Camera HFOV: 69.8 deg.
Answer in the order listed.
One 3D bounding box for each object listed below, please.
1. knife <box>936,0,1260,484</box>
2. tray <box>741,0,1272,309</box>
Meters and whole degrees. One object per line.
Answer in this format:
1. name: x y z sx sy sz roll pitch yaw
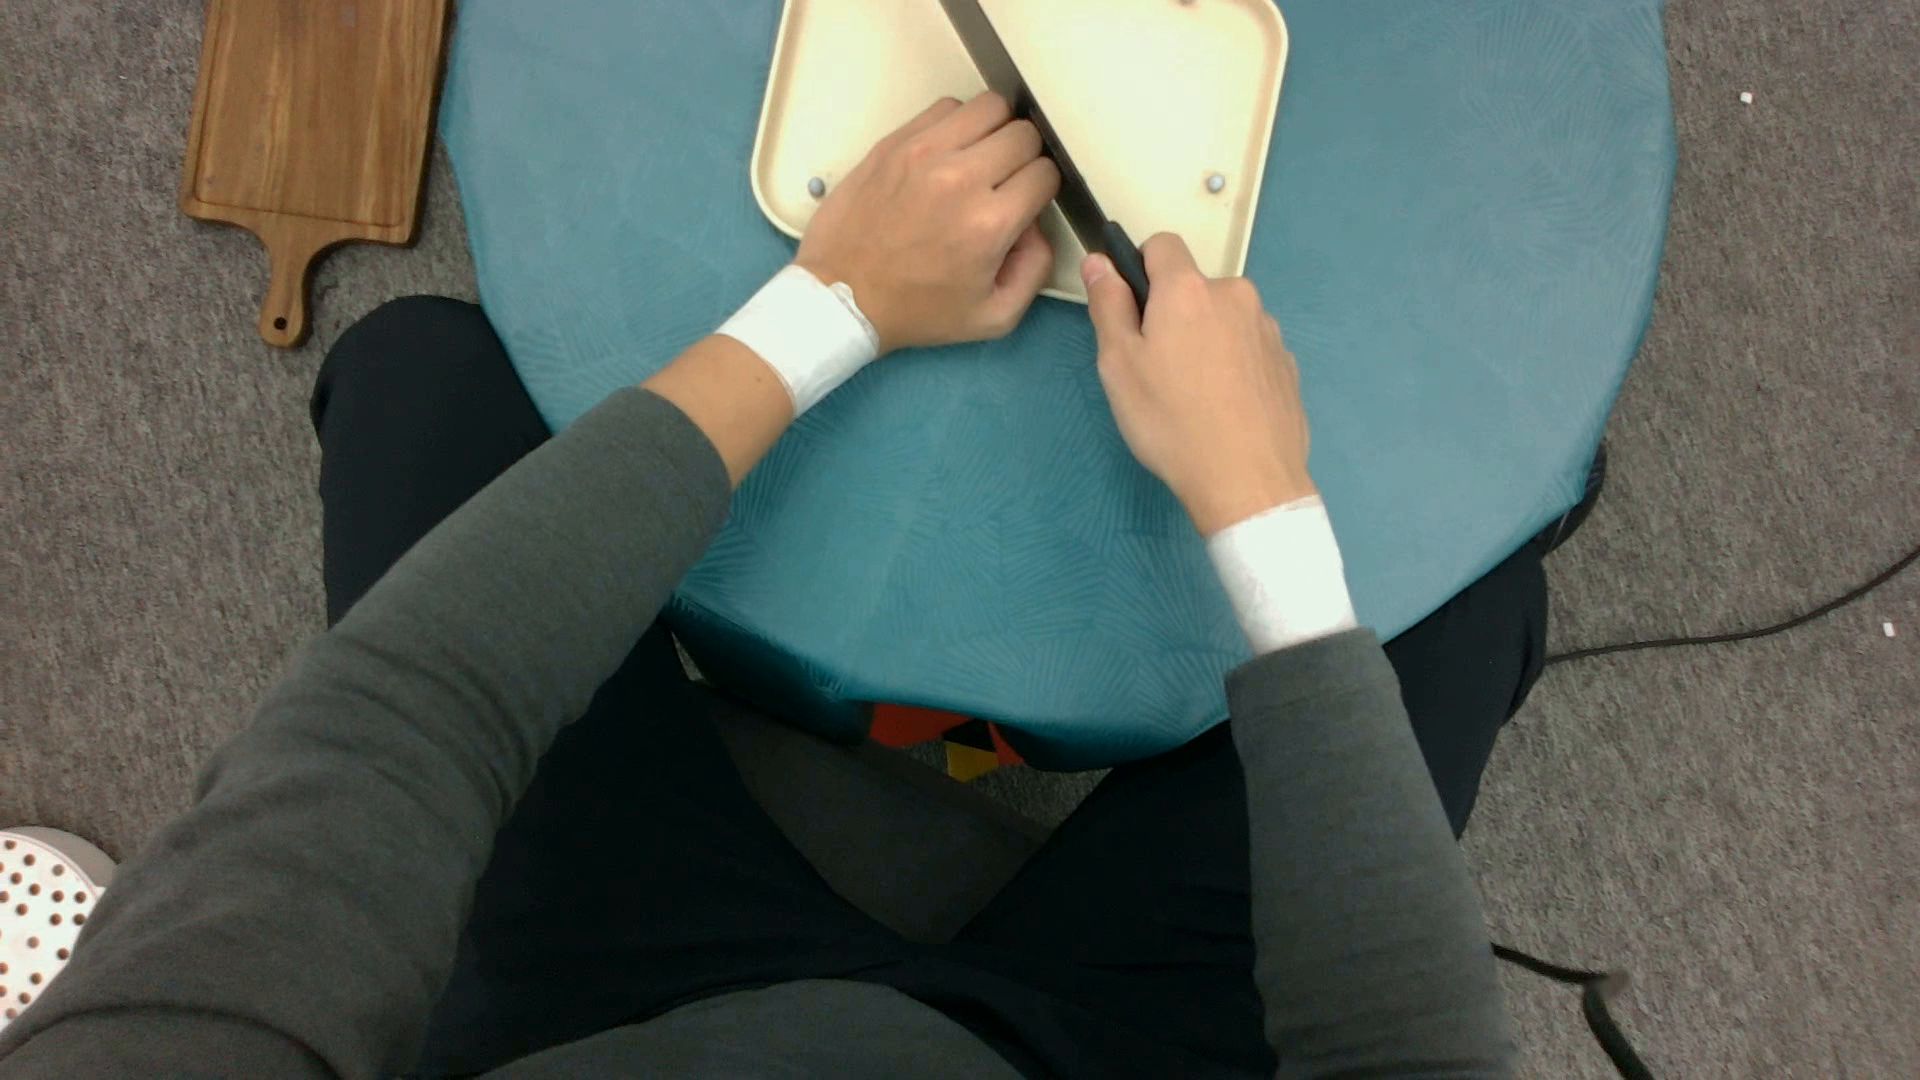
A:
1. knife: 0.049 -0.157 0.627 0.021 0.081 0.302 -31 83 -1
2. tray: 0.024 -0.211 0.665 0.240 0.017 0.171 12 87 -3
